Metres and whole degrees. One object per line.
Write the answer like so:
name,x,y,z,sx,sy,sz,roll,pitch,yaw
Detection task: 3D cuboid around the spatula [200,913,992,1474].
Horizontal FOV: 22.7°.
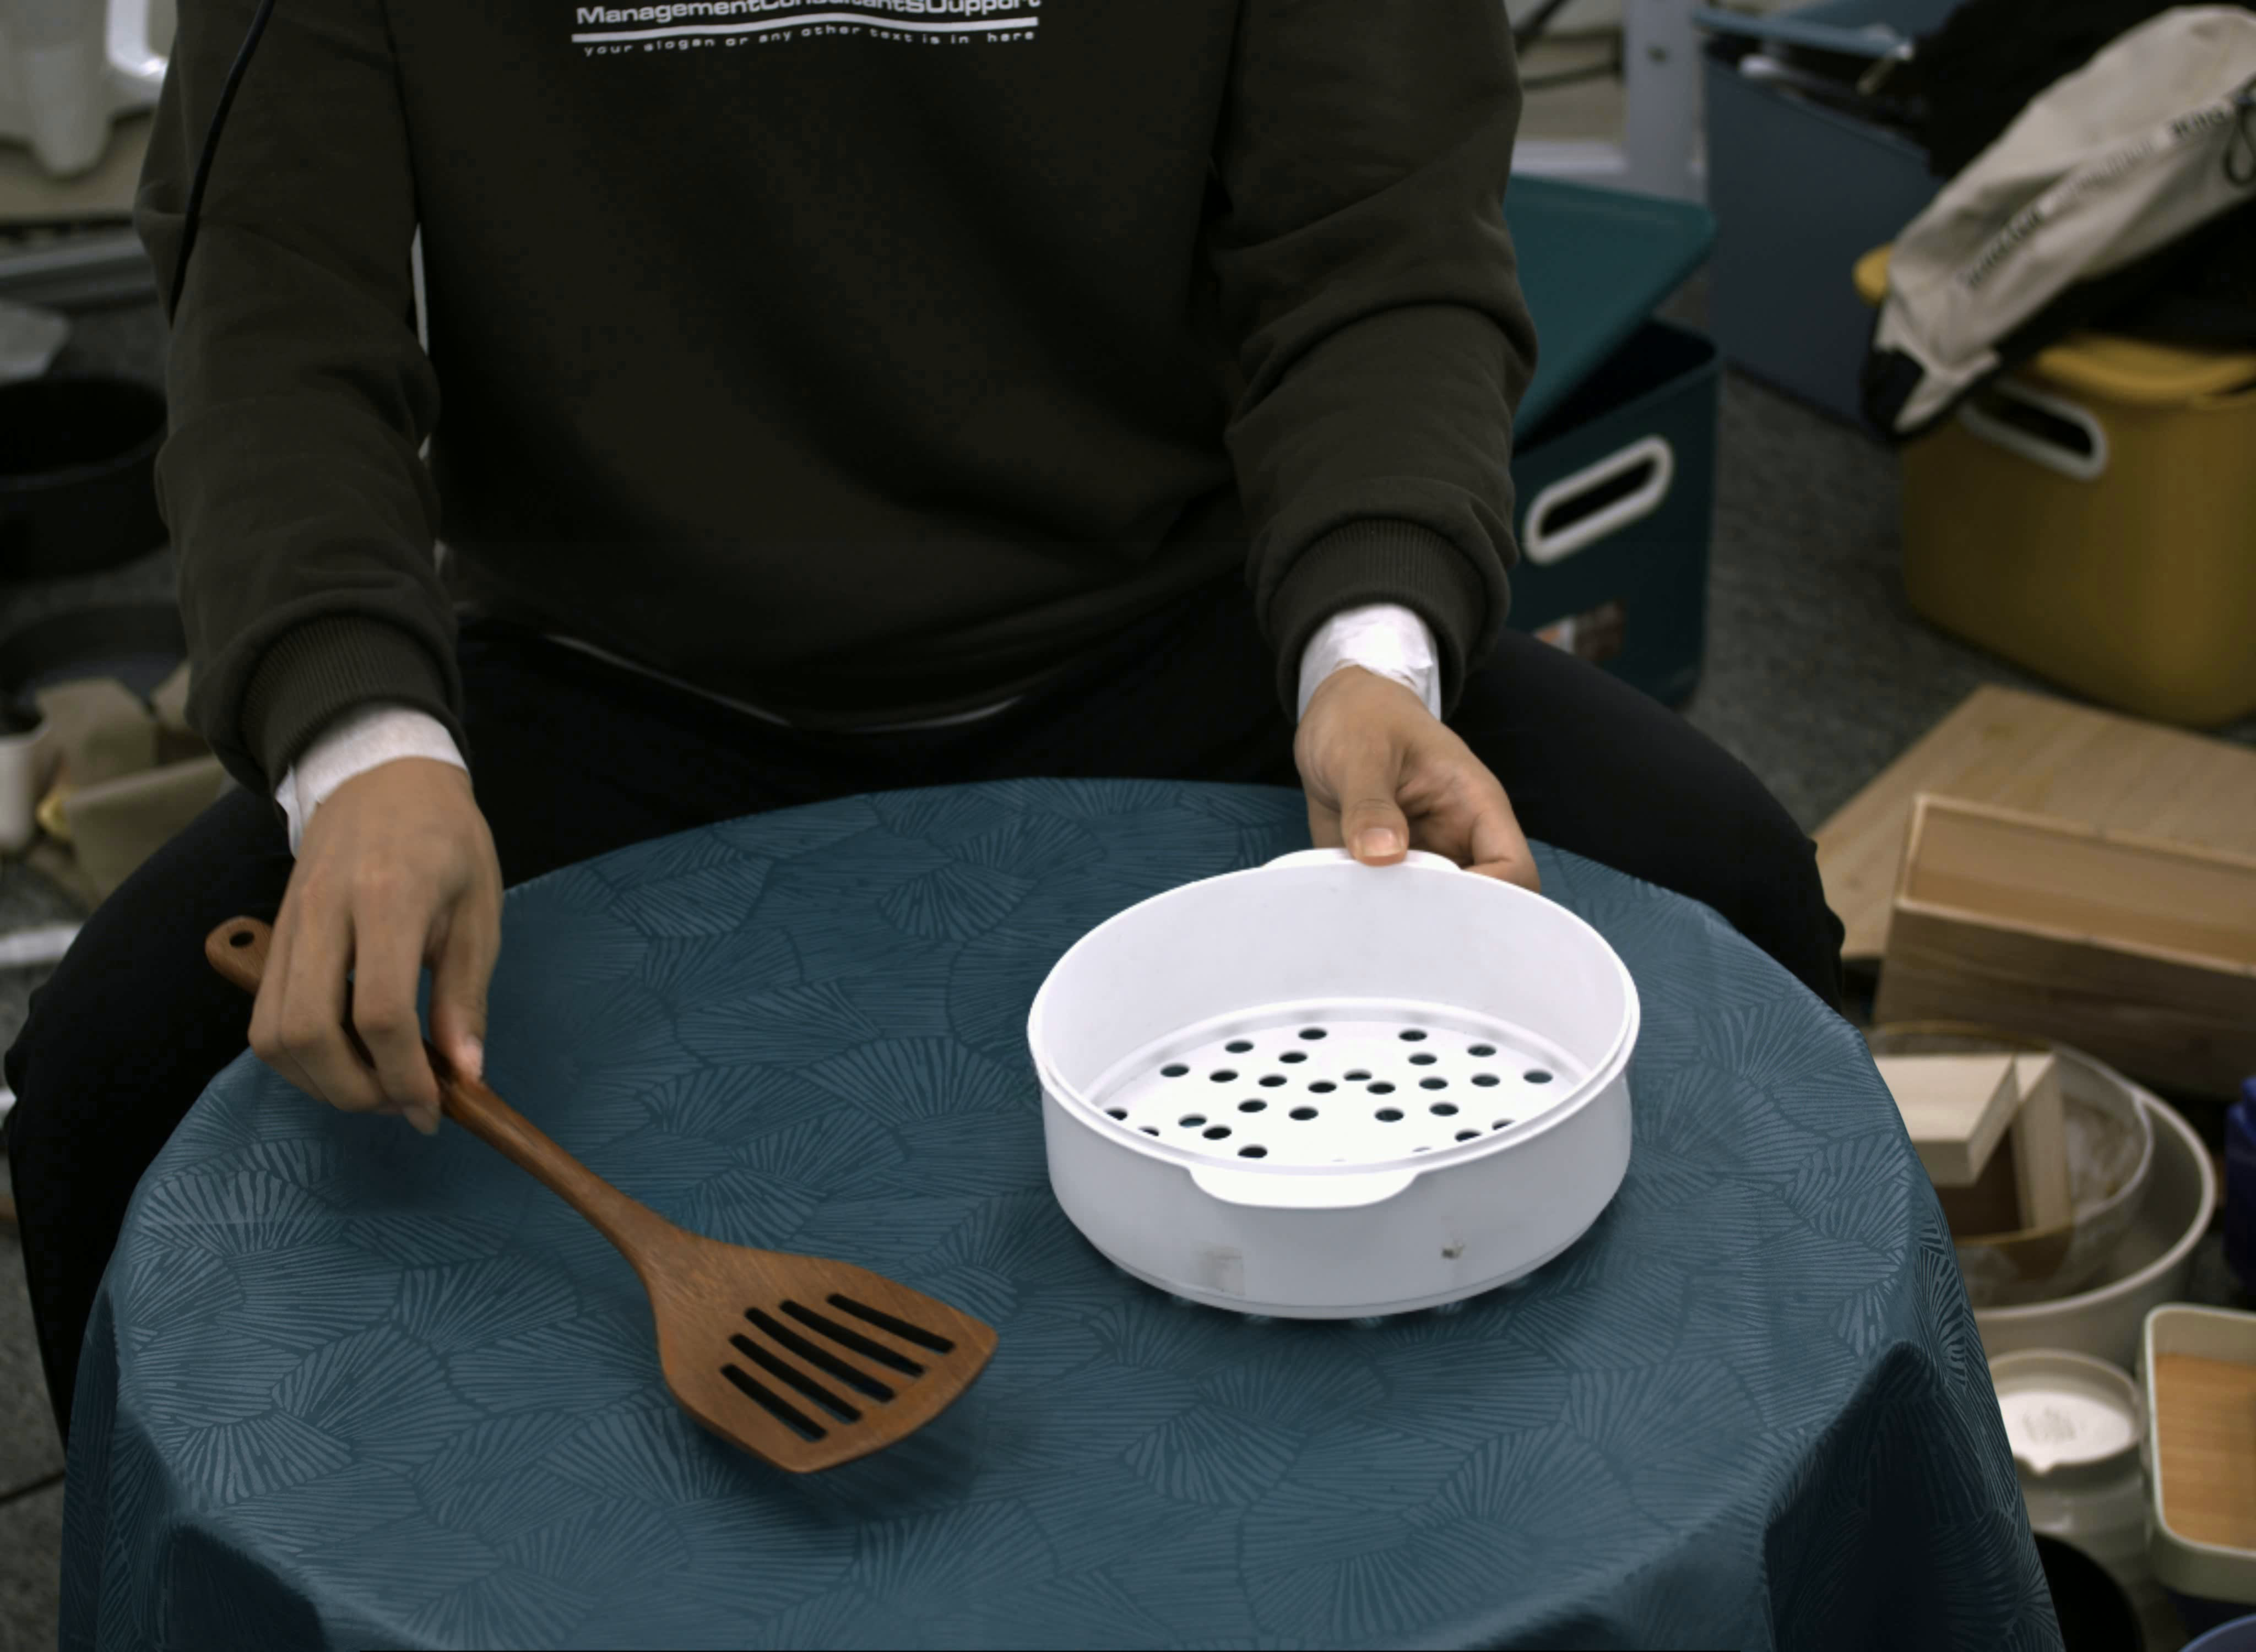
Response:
spatula,-0.191,0.112,1.824,0.087,0.023,0.386,-32,43,-29

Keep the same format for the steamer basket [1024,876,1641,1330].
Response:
steamer basket,0.067,0.092,1.843,0.201,0.068,0.234,3,25,7
